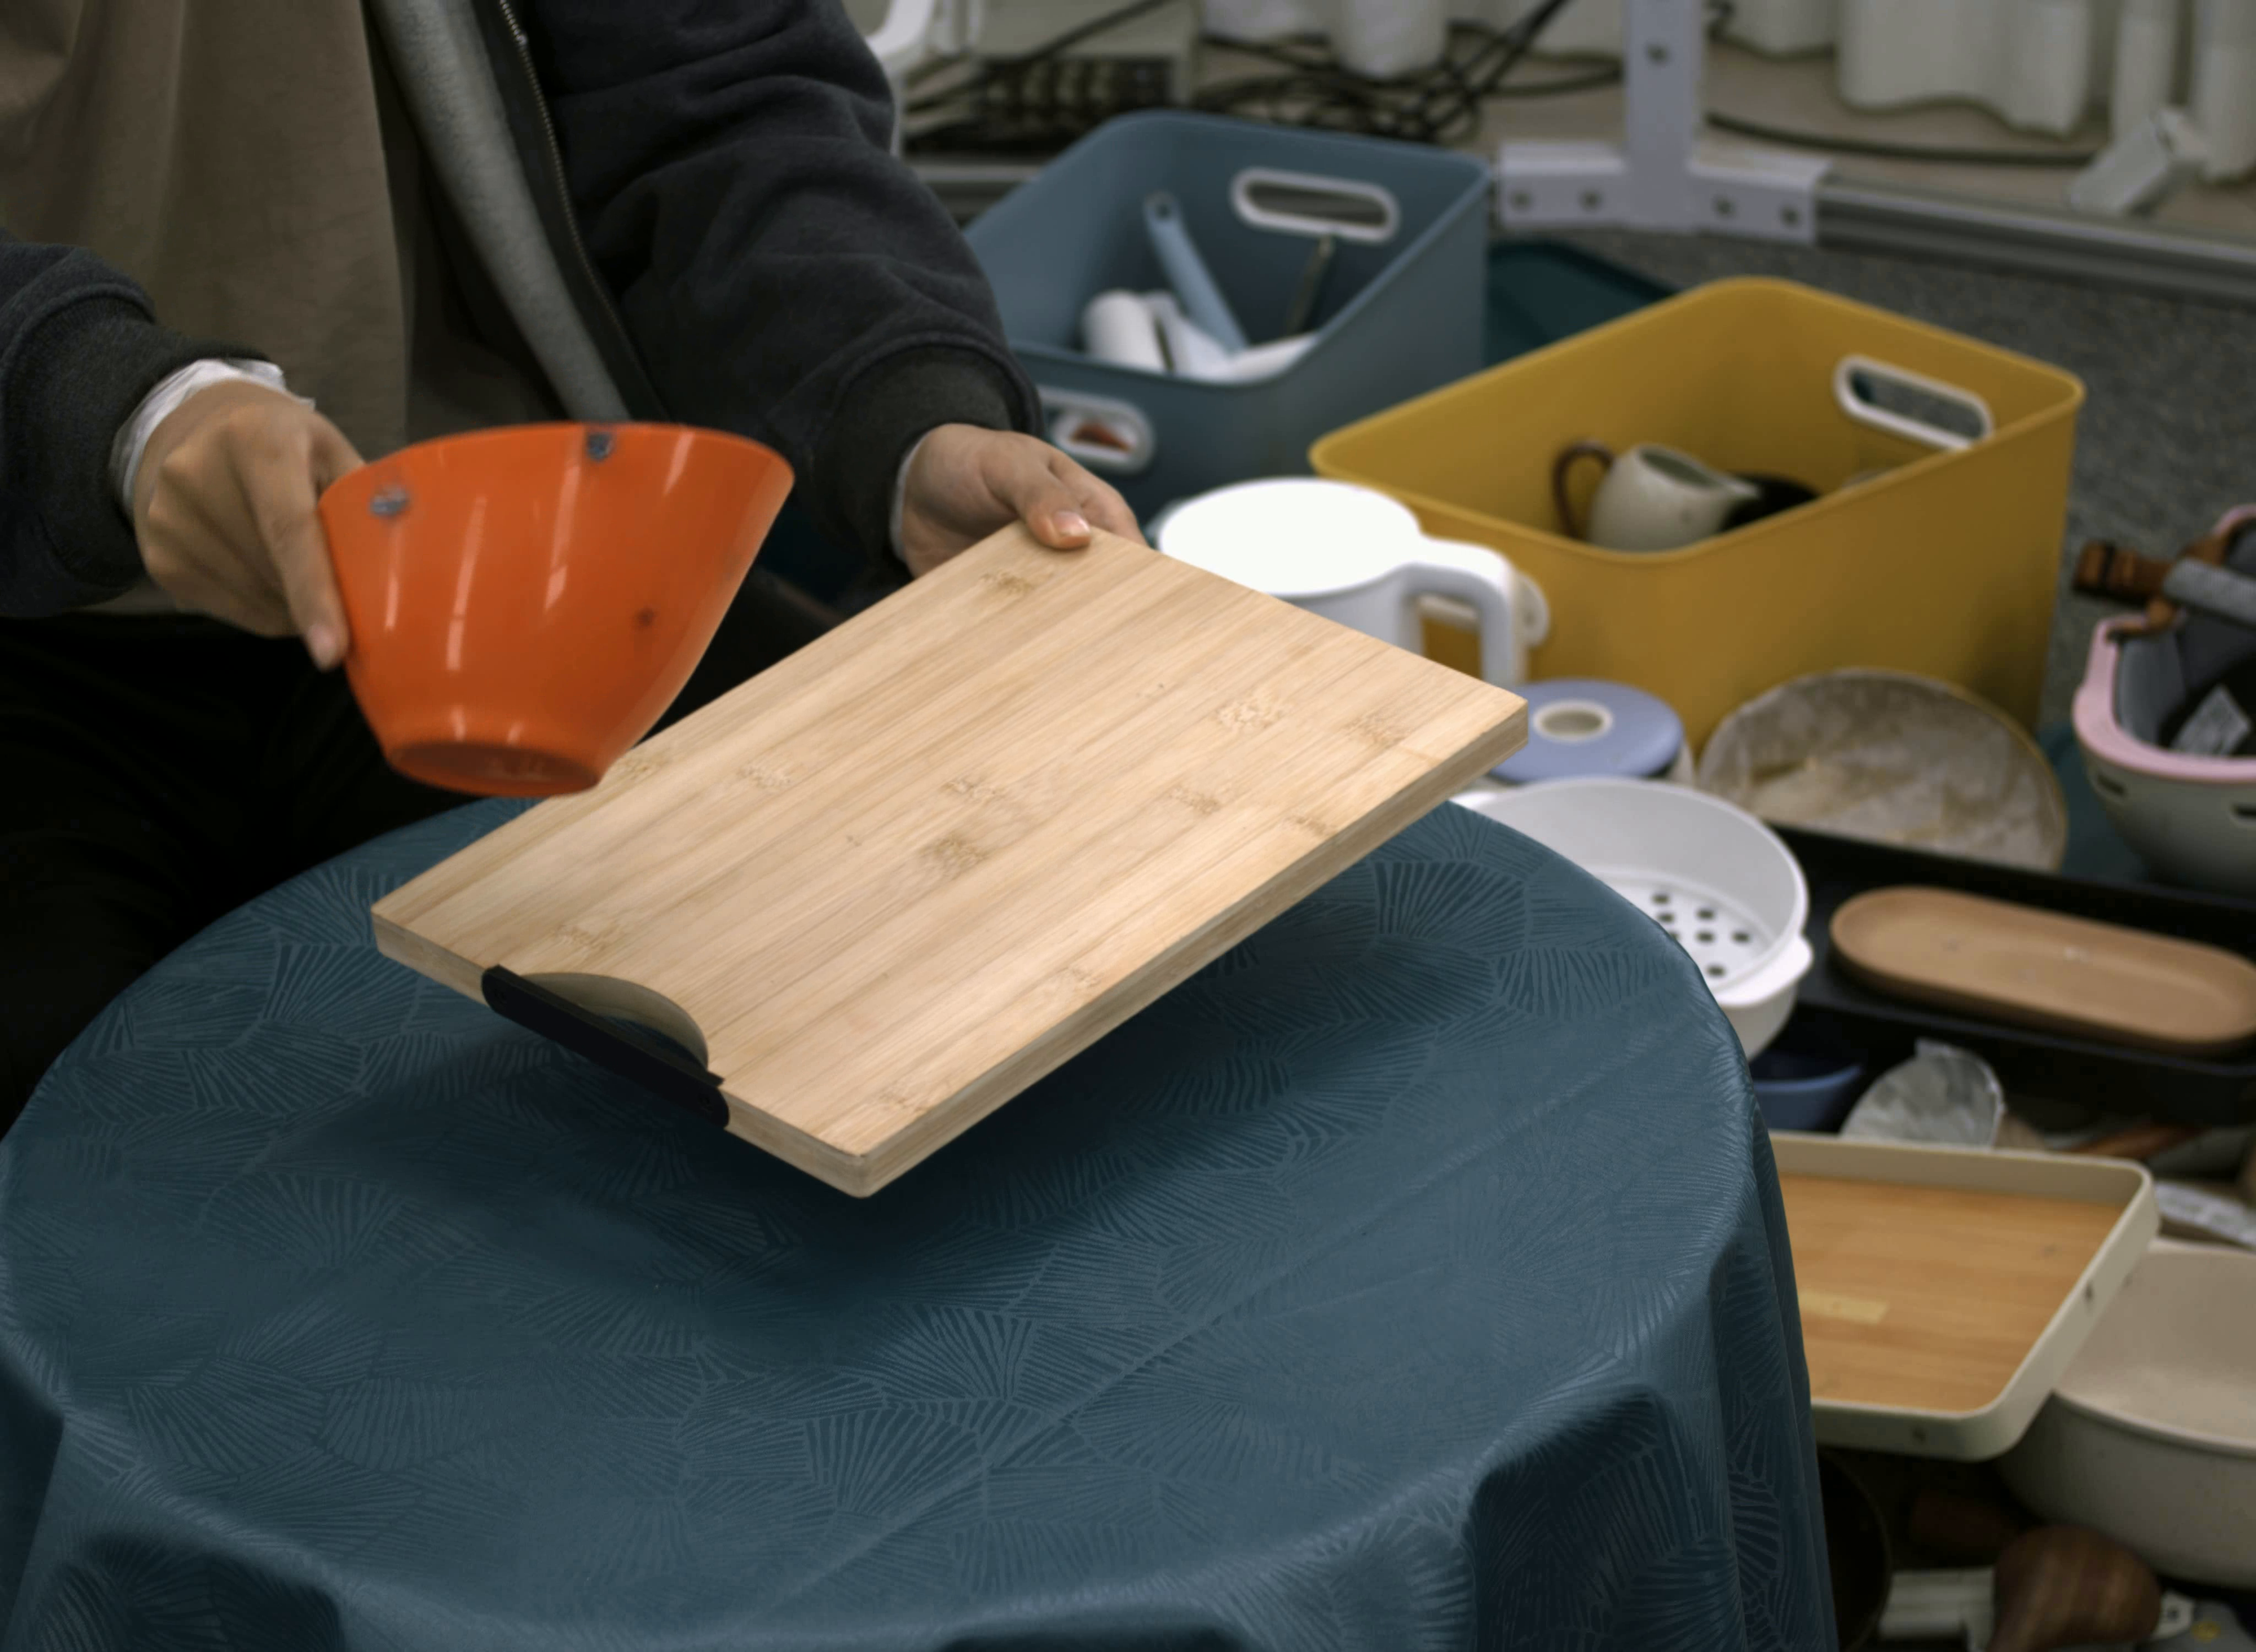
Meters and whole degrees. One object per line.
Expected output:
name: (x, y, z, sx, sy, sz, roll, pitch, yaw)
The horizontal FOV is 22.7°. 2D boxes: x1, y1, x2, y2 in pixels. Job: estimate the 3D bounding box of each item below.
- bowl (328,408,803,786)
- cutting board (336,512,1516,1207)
bowl: (-0.180, -0.069, 1.758, 0.147, 0.106, 0.146, 5, -16, 2)
cutting board: (-0.064, 0.002, 1.950, 0.250, 0.023, 0.353, 22, 40, 36)
